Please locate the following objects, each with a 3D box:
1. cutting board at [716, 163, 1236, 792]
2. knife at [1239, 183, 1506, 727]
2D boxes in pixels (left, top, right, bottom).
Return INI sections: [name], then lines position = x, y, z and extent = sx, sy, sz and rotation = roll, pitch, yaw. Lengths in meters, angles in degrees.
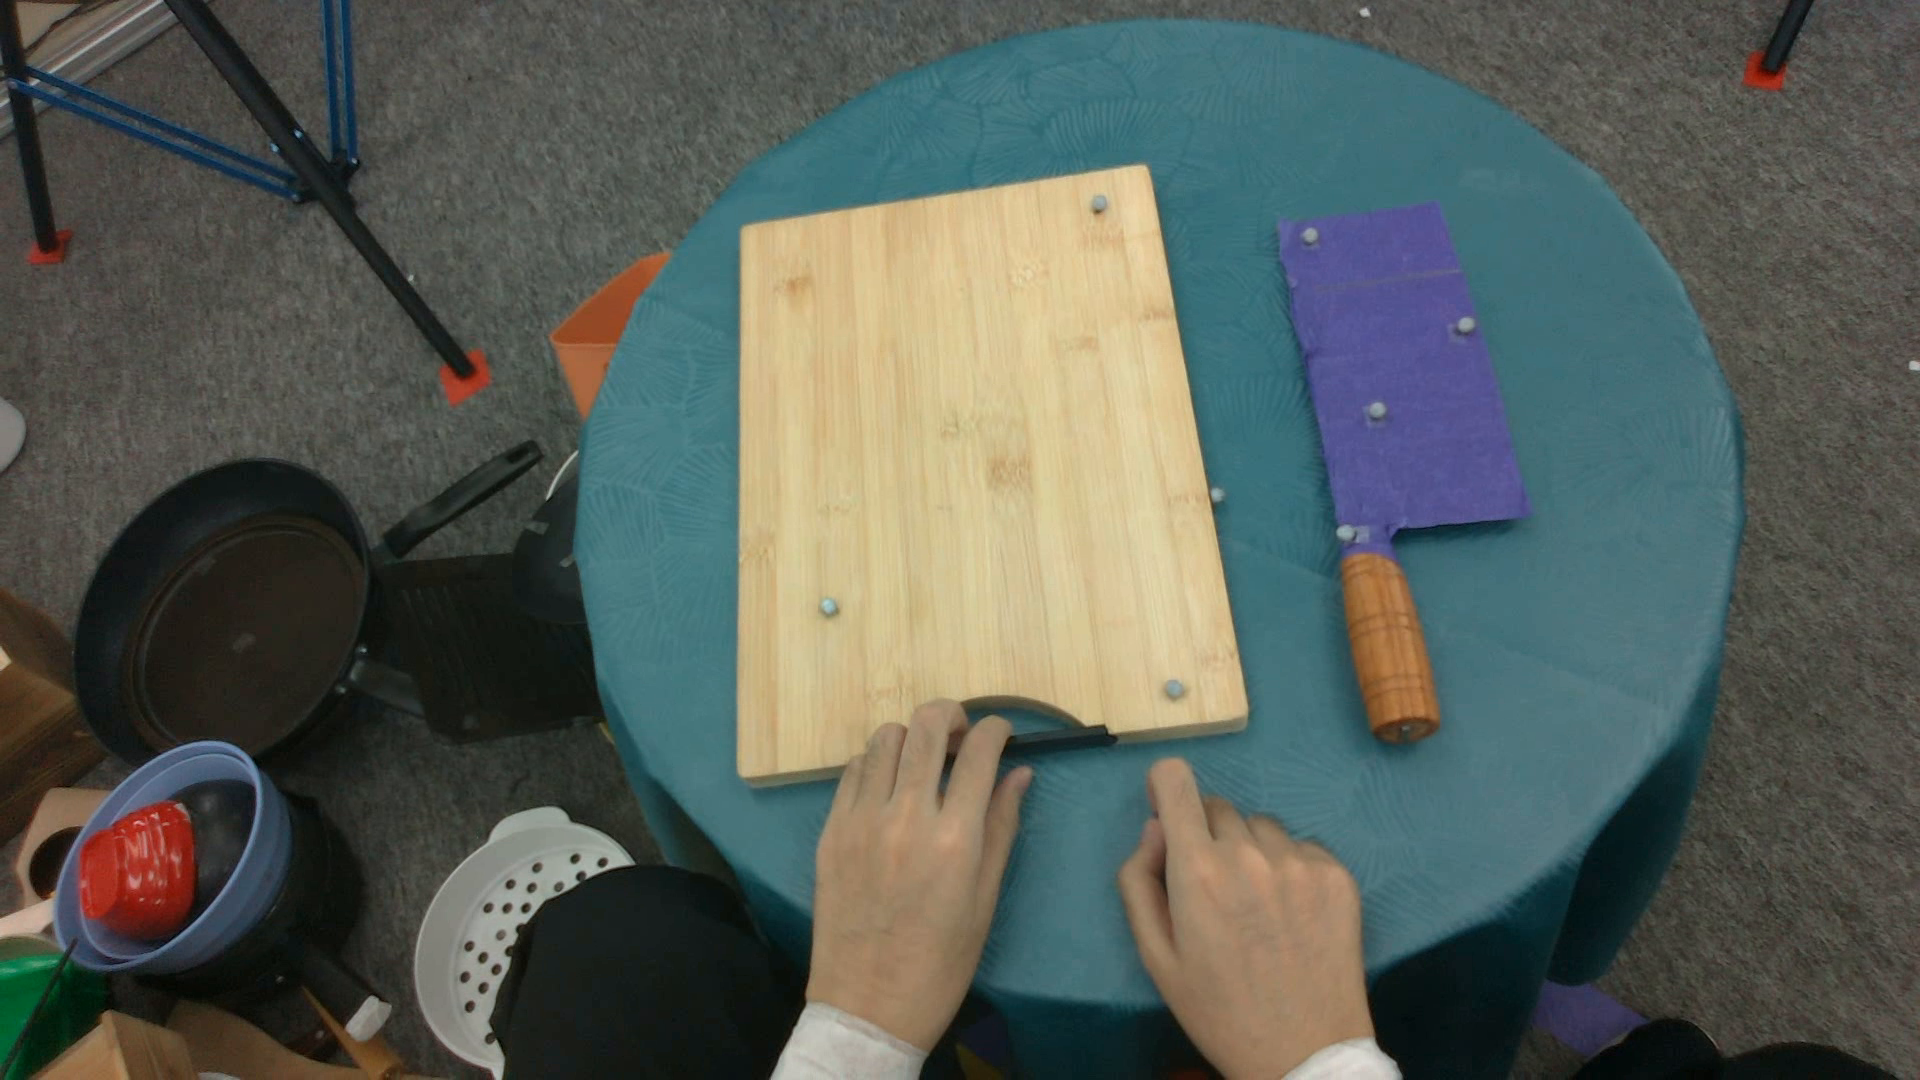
[cutting board]
position = -0.005, -0.050, 0.721
extent = 0.250, 0.023, 0.350
rotation = -8, 61, 4
[knife]
position = 0.217, -0.061, 0.689
extent = 0.104, 0.032, 0.316
rotation = -7, 61, 5
